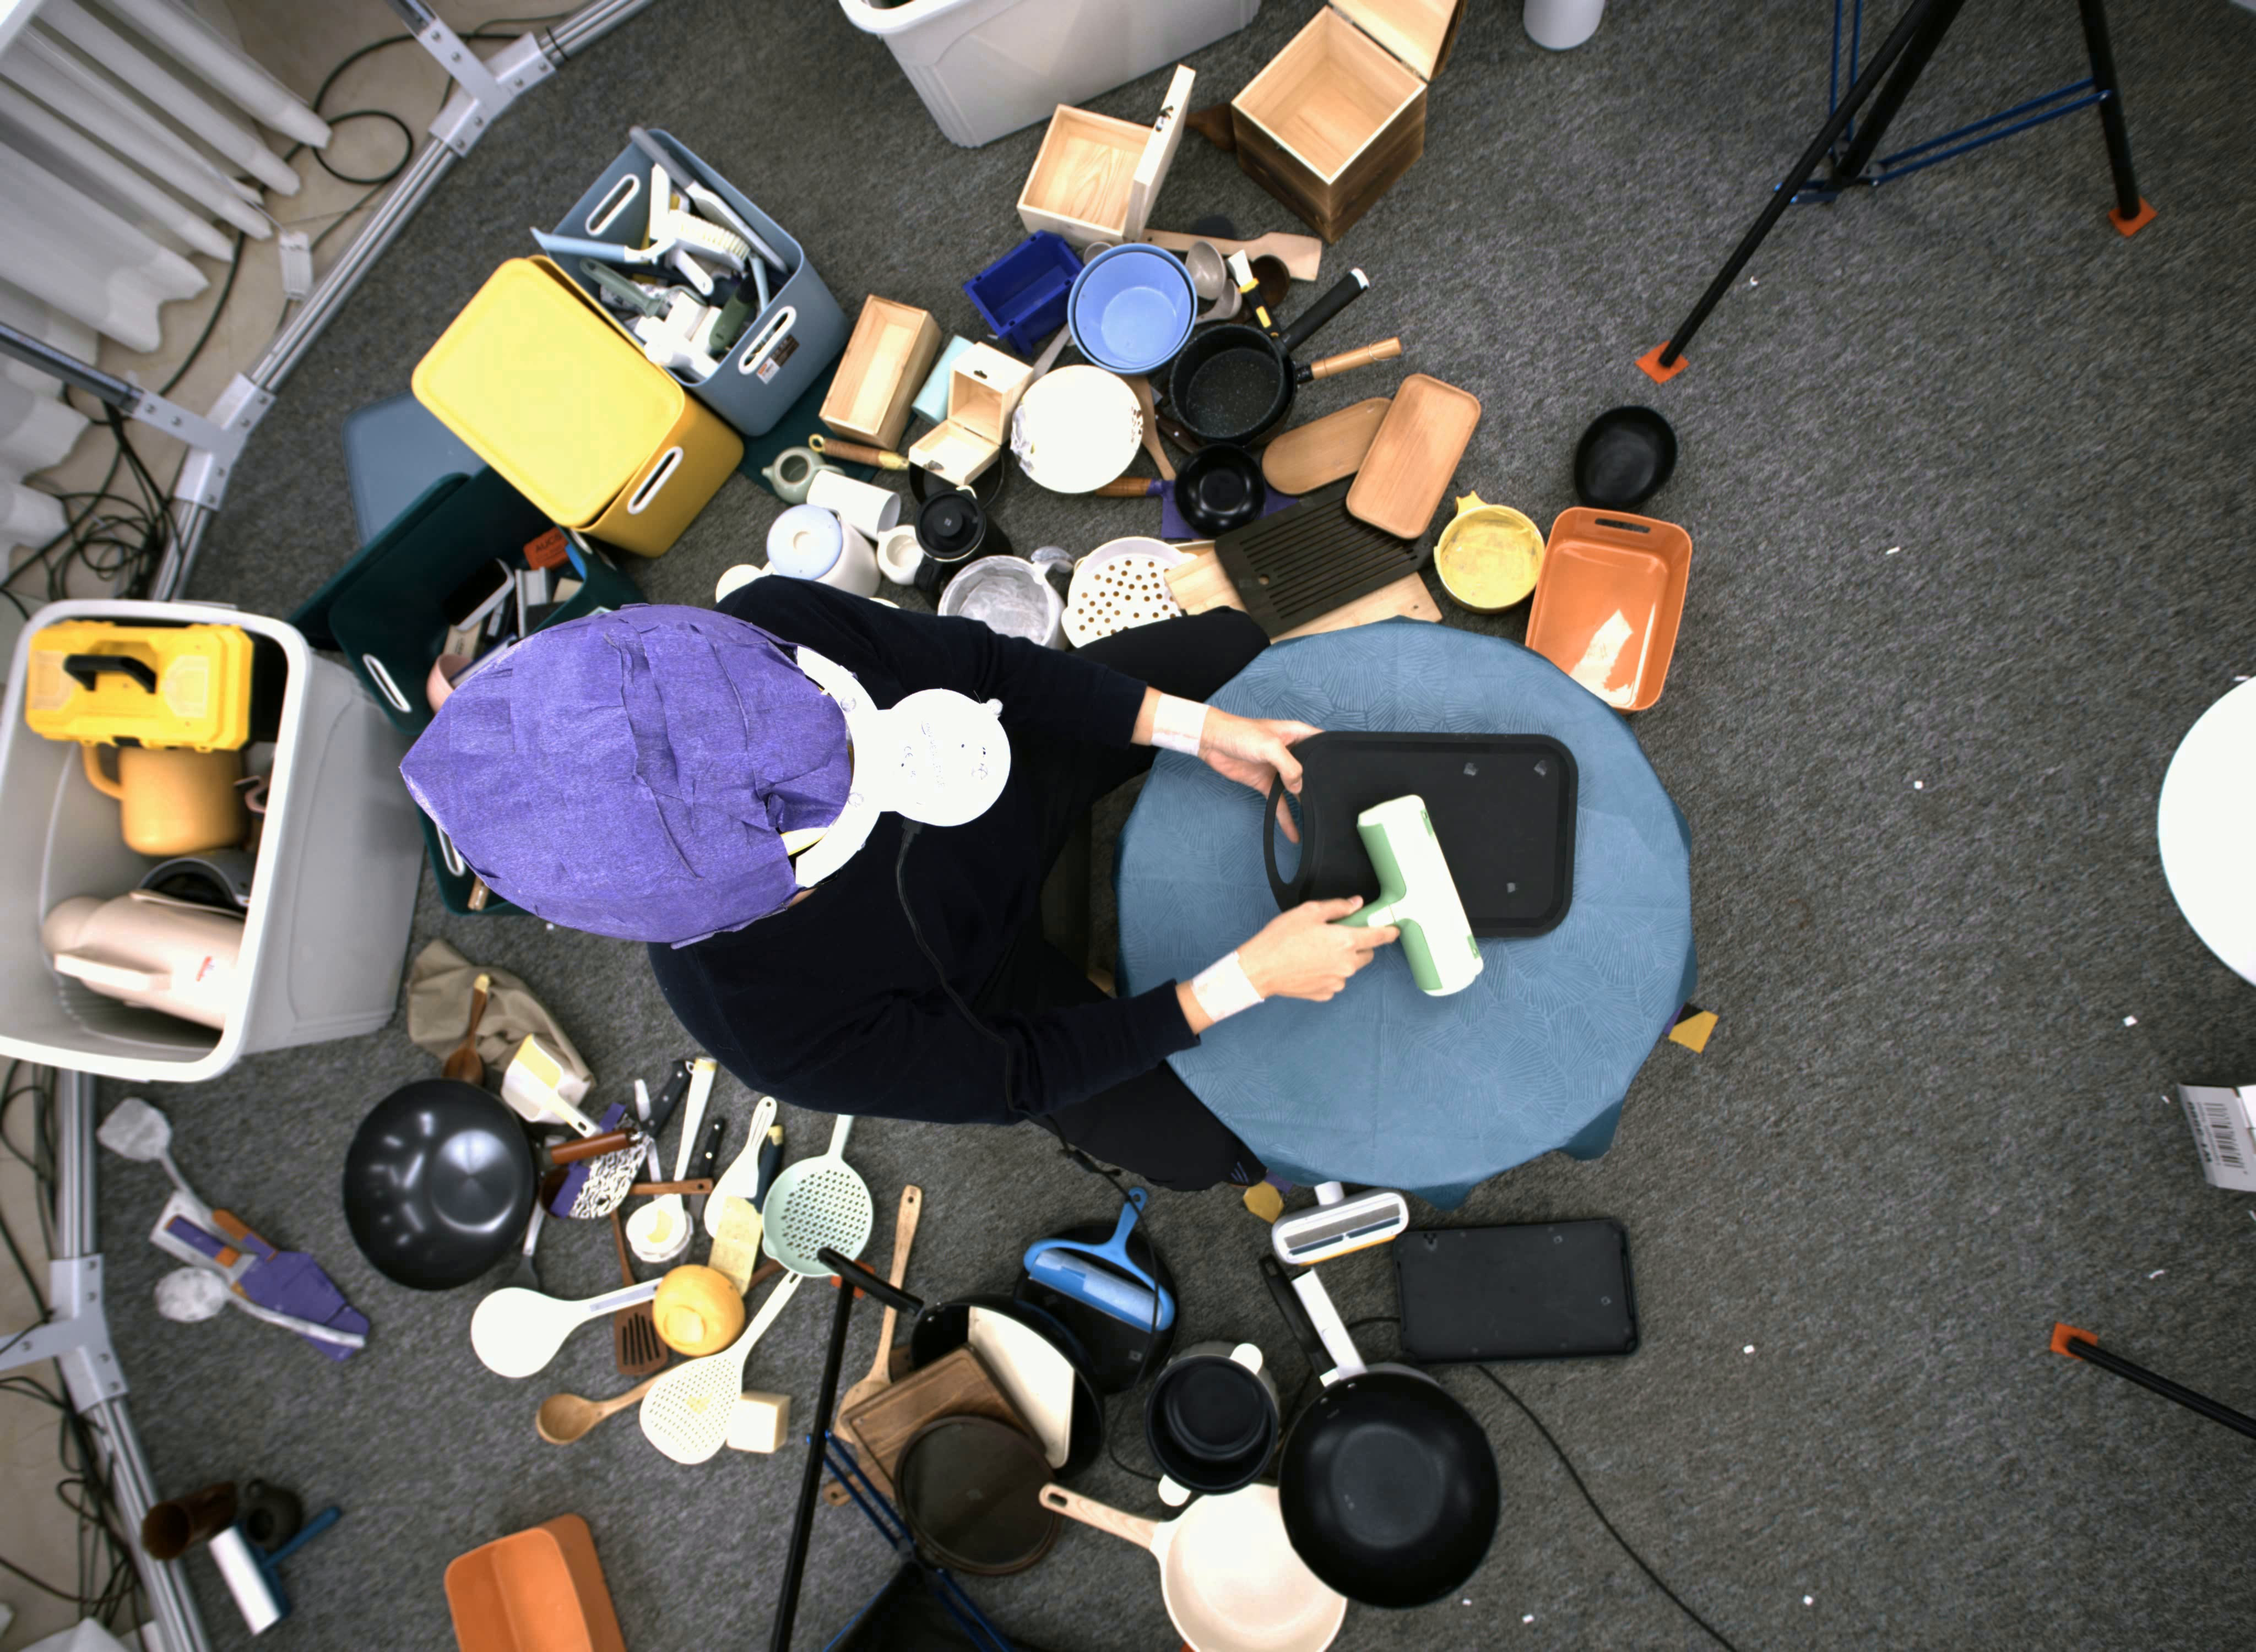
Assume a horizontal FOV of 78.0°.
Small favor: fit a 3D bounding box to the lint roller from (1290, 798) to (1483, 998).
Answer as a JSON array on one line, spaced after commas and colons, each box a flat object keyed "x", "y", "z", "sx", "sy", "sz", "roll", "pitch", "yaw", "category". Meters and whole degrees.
[{"x": 0.244, "y": 0.094, "z": 1.327, "sx": 0.181, "sy": 0.082, "sz": 0.200, "roll": -28, "pitch": 101, "yaw": -23, "category": "lint roller"}]

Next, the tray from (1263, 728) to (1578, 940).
[{"x": 0.297, "y": 0.008, "z": 1.396, "sx": 0.325, "sy": 0.010, "sz": 0.212, "roll": 1, "pitch": 97, "yaw": -4, "category": "tray"}]
